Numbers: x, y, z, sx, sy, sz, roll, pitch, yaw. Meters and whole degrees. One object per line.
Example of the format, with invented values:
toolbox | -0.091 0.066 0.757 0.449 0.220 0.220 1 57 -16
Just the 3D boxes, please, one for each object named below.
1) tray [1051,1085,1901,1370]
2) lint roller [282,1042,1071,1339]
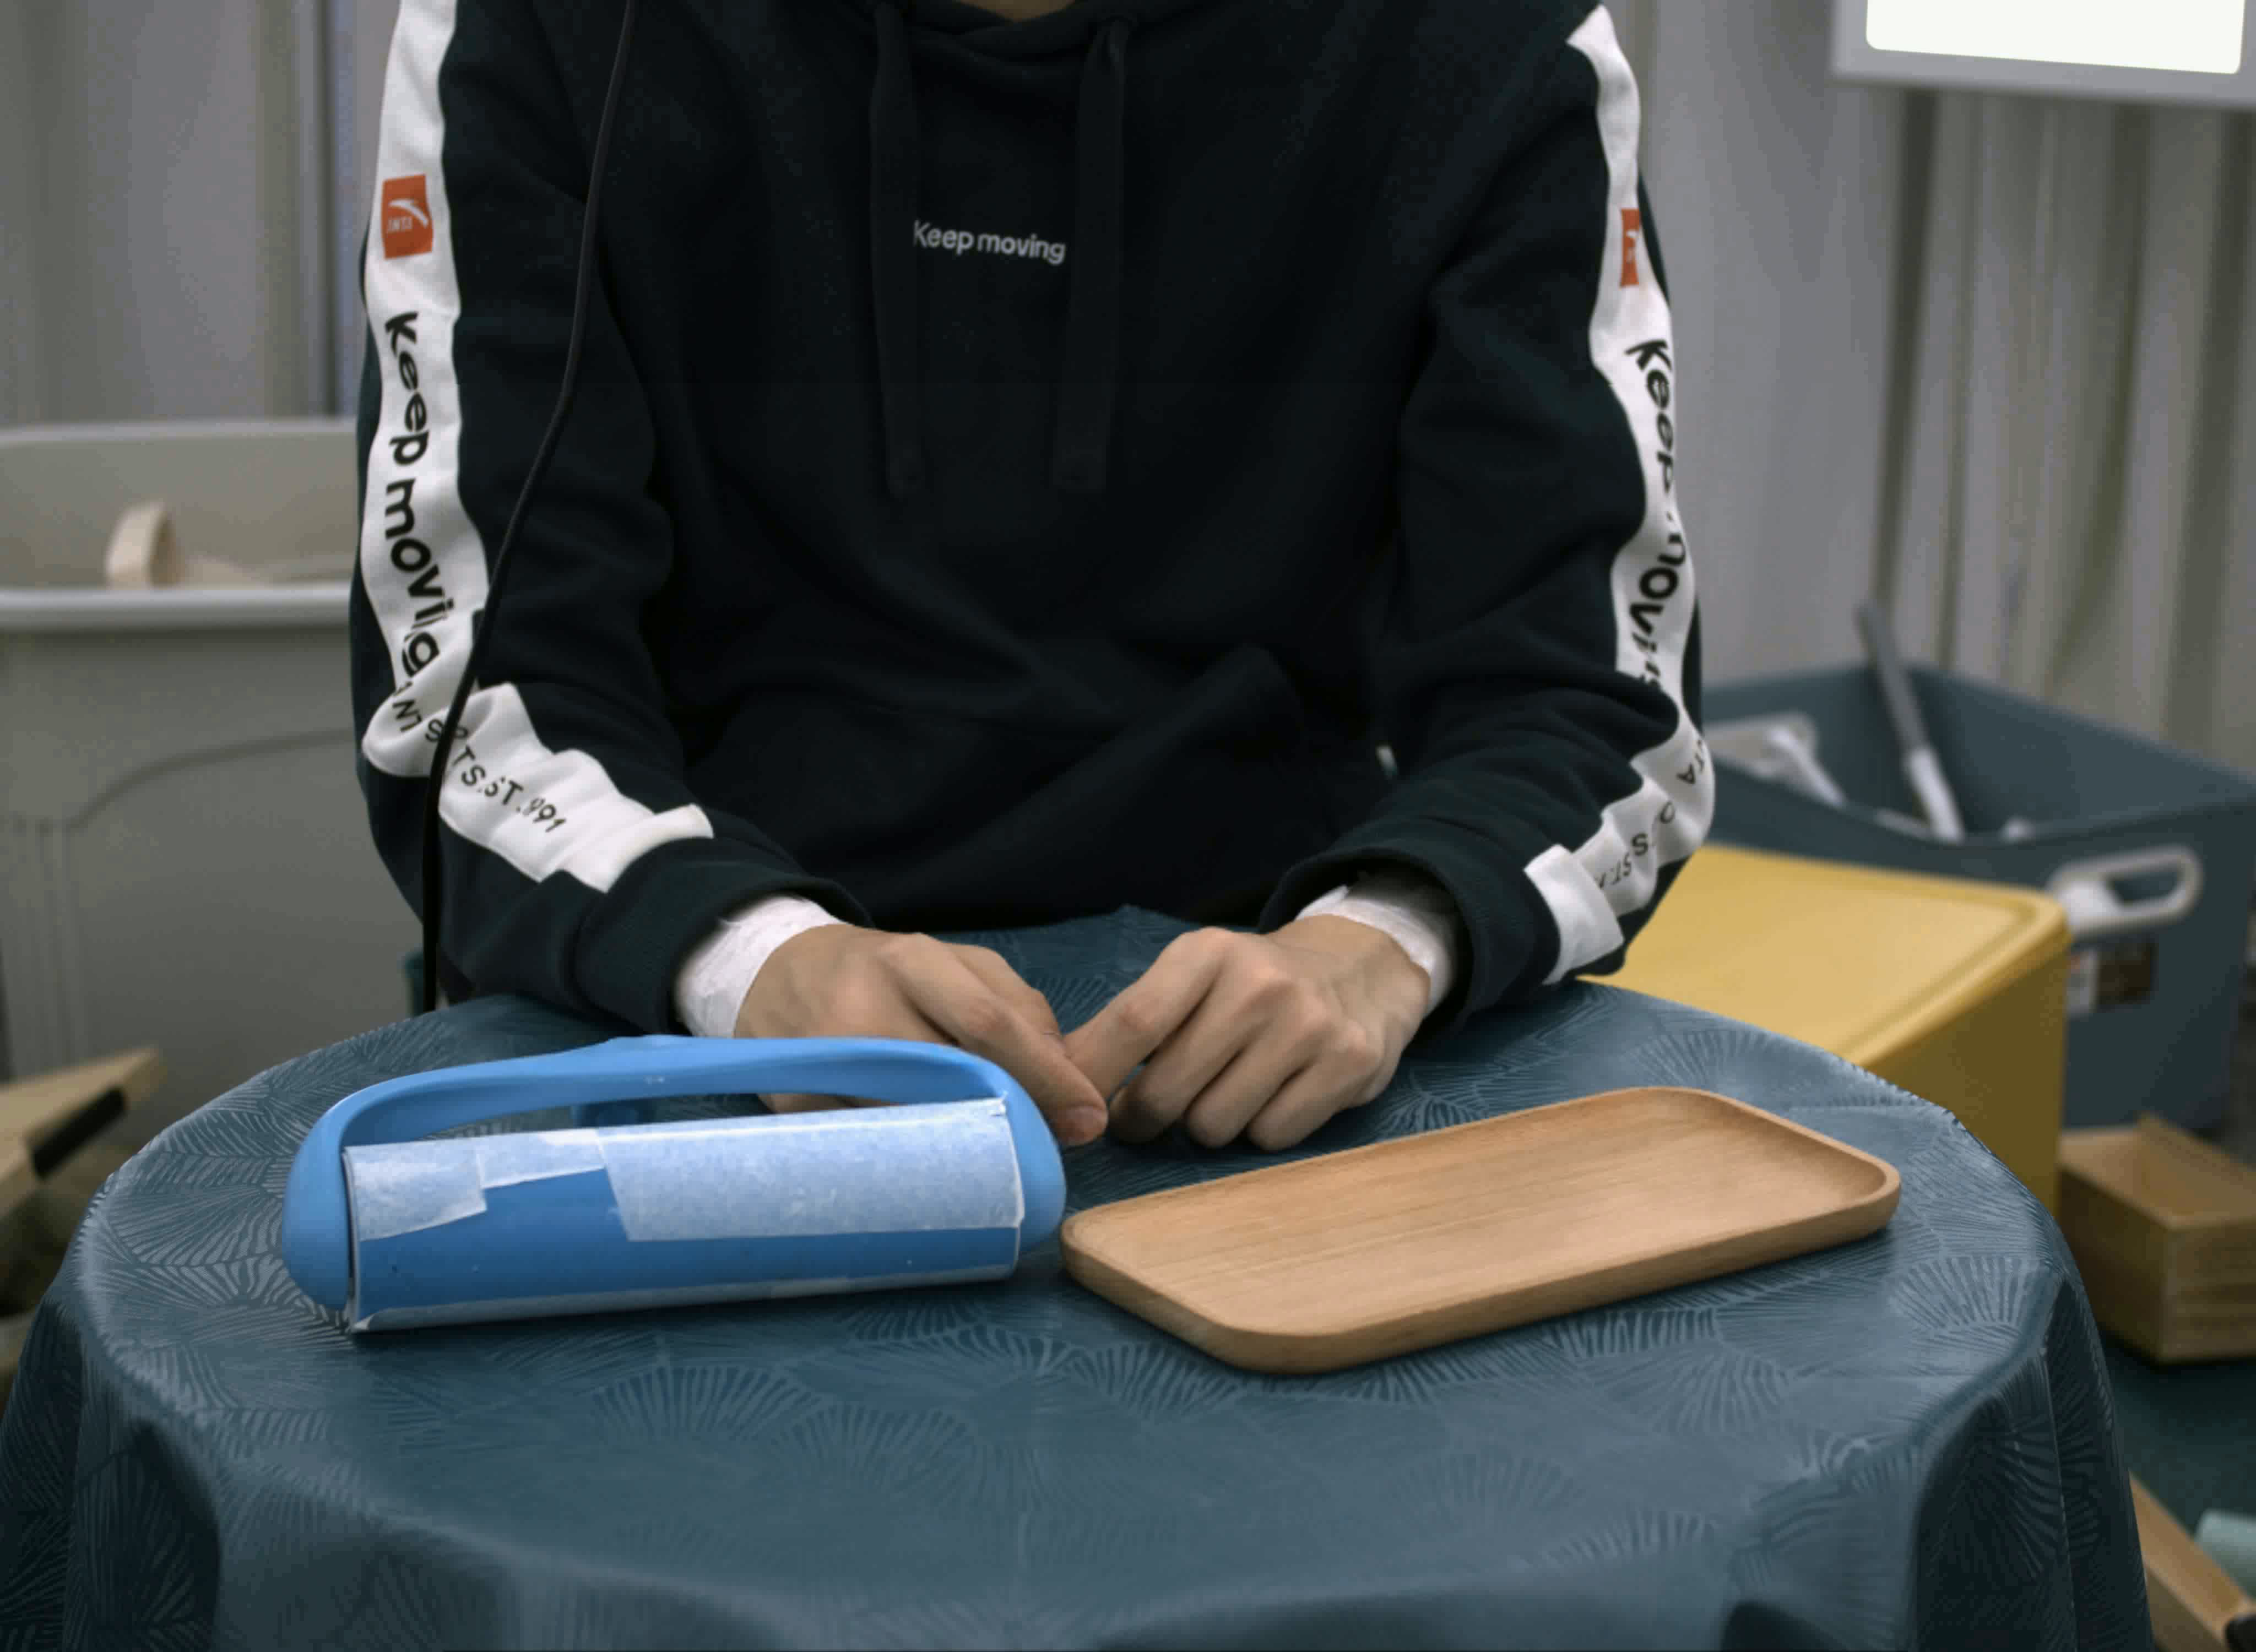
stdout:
tray | 0.105 0.118 1.570 0.252 0.023 0.129 -10 16 -32
lint roller | -0.145 0.095 1.570 0.229 0.068 0.178 -6 17 -16
